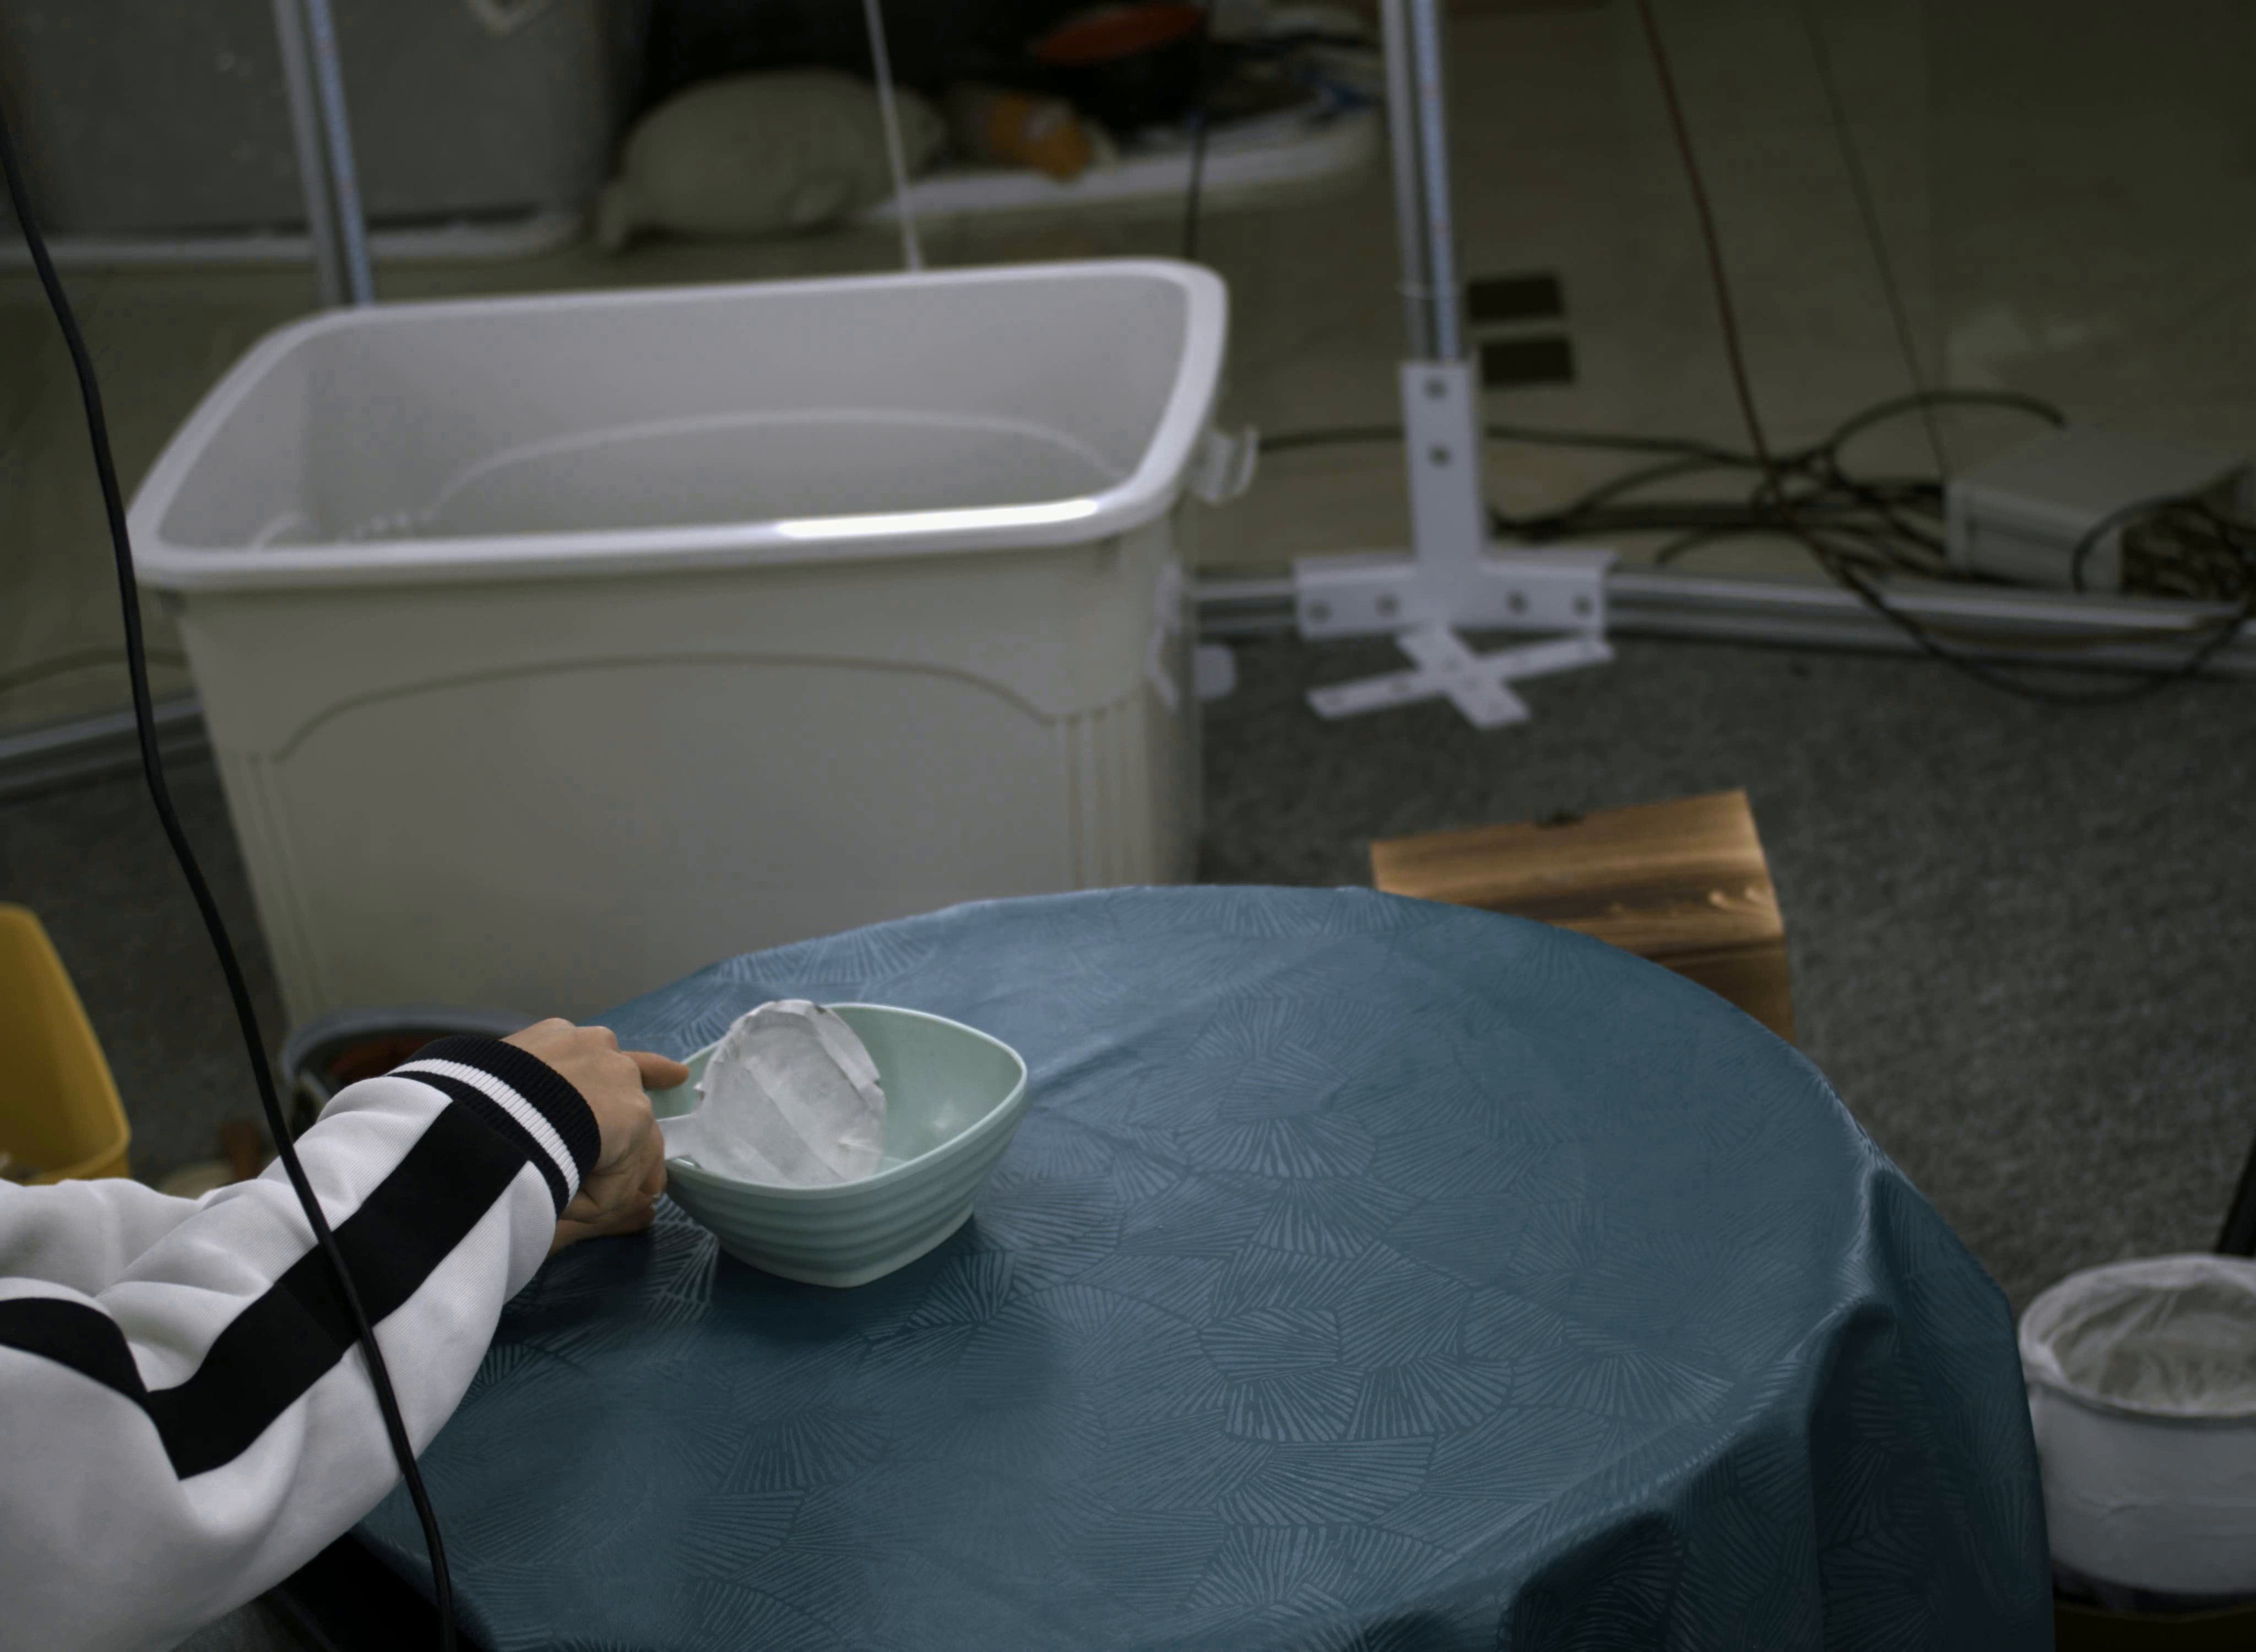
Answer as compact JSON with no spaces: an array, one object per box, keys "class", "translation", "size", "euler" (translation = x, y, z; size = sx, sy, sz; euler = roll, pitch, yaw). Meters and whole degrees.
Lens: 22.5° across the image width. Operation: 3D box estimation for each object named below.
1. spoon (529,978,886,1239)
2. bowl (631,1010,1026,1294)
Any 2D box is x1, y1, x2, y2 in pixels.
[{"class":"spoon","translation":[-0.147,0.099,2.017],"size":[0.059,0.100,0.278],"euler":[-9,-6,10]},{"class":"bowl","translation":[-0.111,0.128,2.136],"size":[0.151,0.059,0.149],"euler":[-5,25,2]}]
